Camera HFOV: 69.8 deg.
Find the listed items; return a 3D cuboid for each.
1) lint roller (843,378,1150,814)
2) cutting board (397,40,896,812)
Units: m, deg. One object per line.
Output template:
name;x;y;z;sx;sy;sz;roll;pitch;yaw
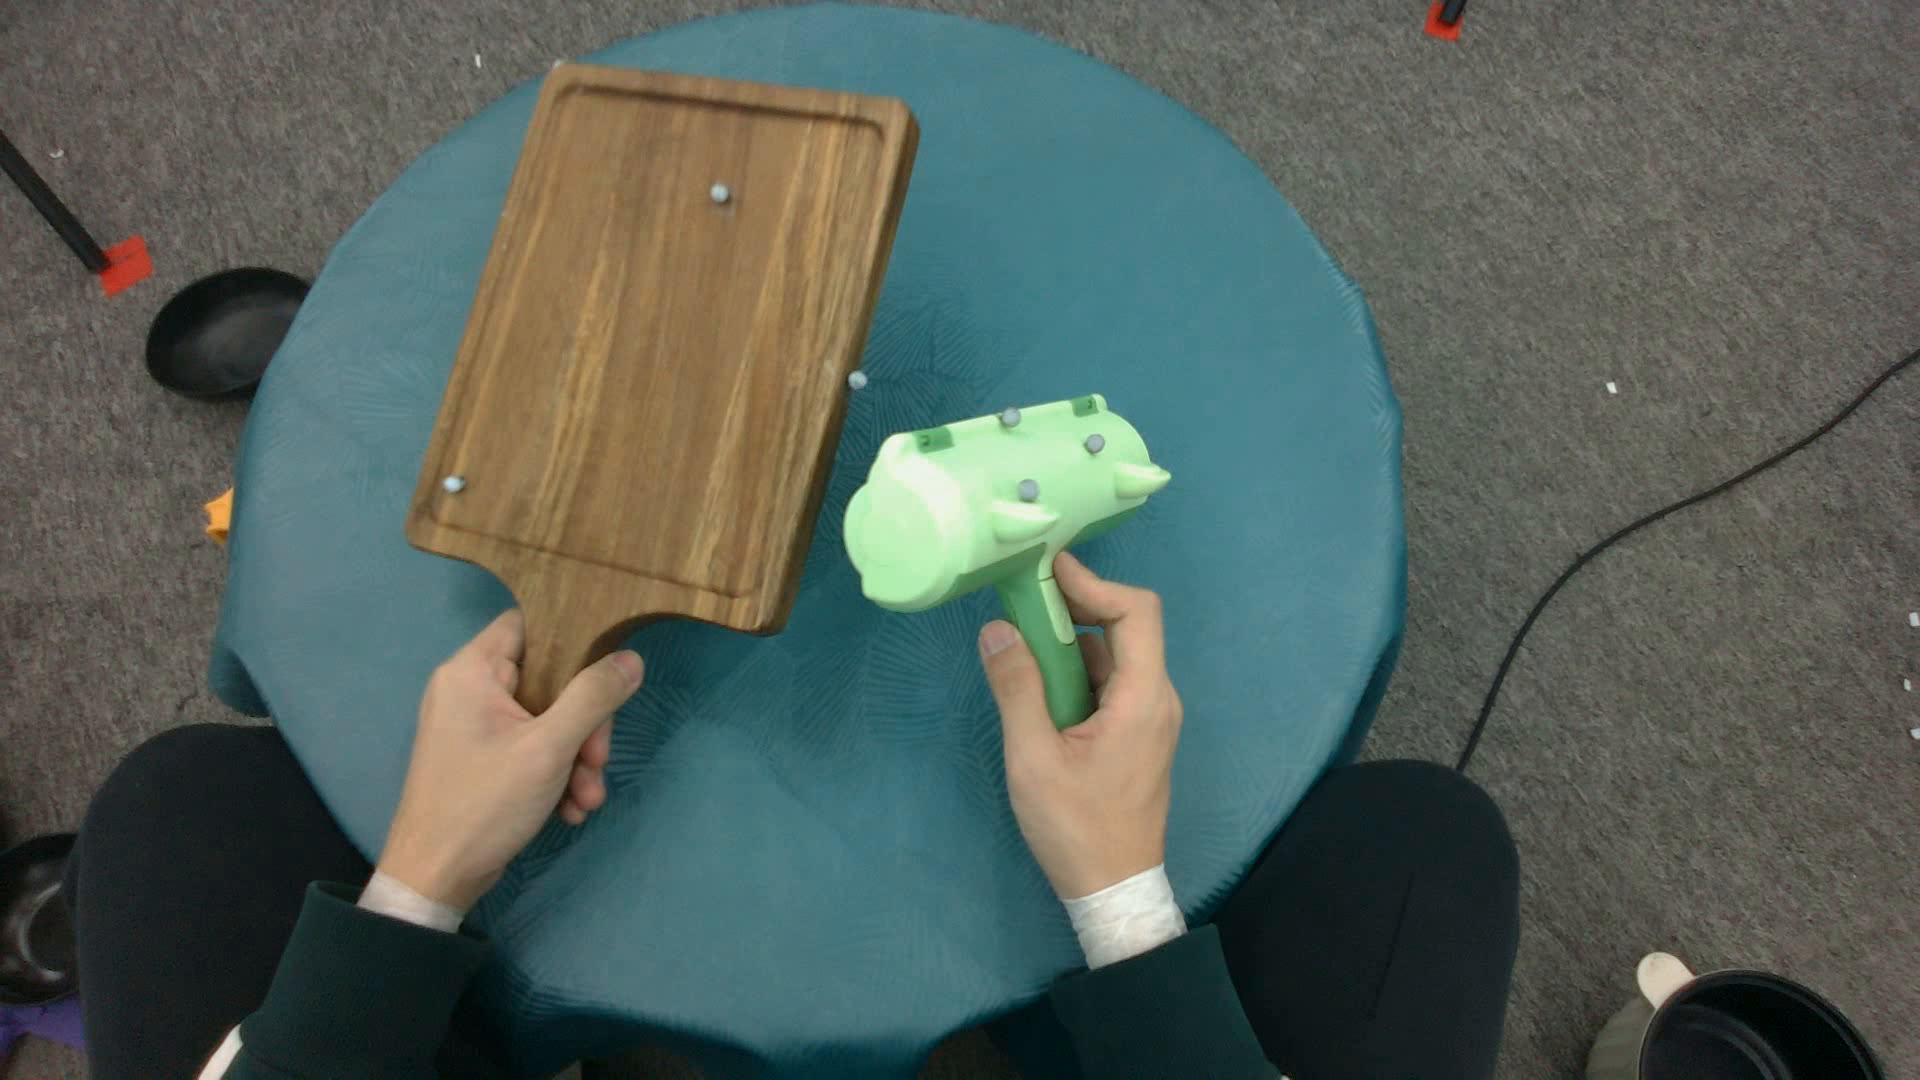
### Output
lint roller;0.041;0.025;0.589;0.082;0.199;0.183;-19;92;27
cutting board;-0.154;-0.054;0.614;0.201;0.023;0.352;11;84;21
